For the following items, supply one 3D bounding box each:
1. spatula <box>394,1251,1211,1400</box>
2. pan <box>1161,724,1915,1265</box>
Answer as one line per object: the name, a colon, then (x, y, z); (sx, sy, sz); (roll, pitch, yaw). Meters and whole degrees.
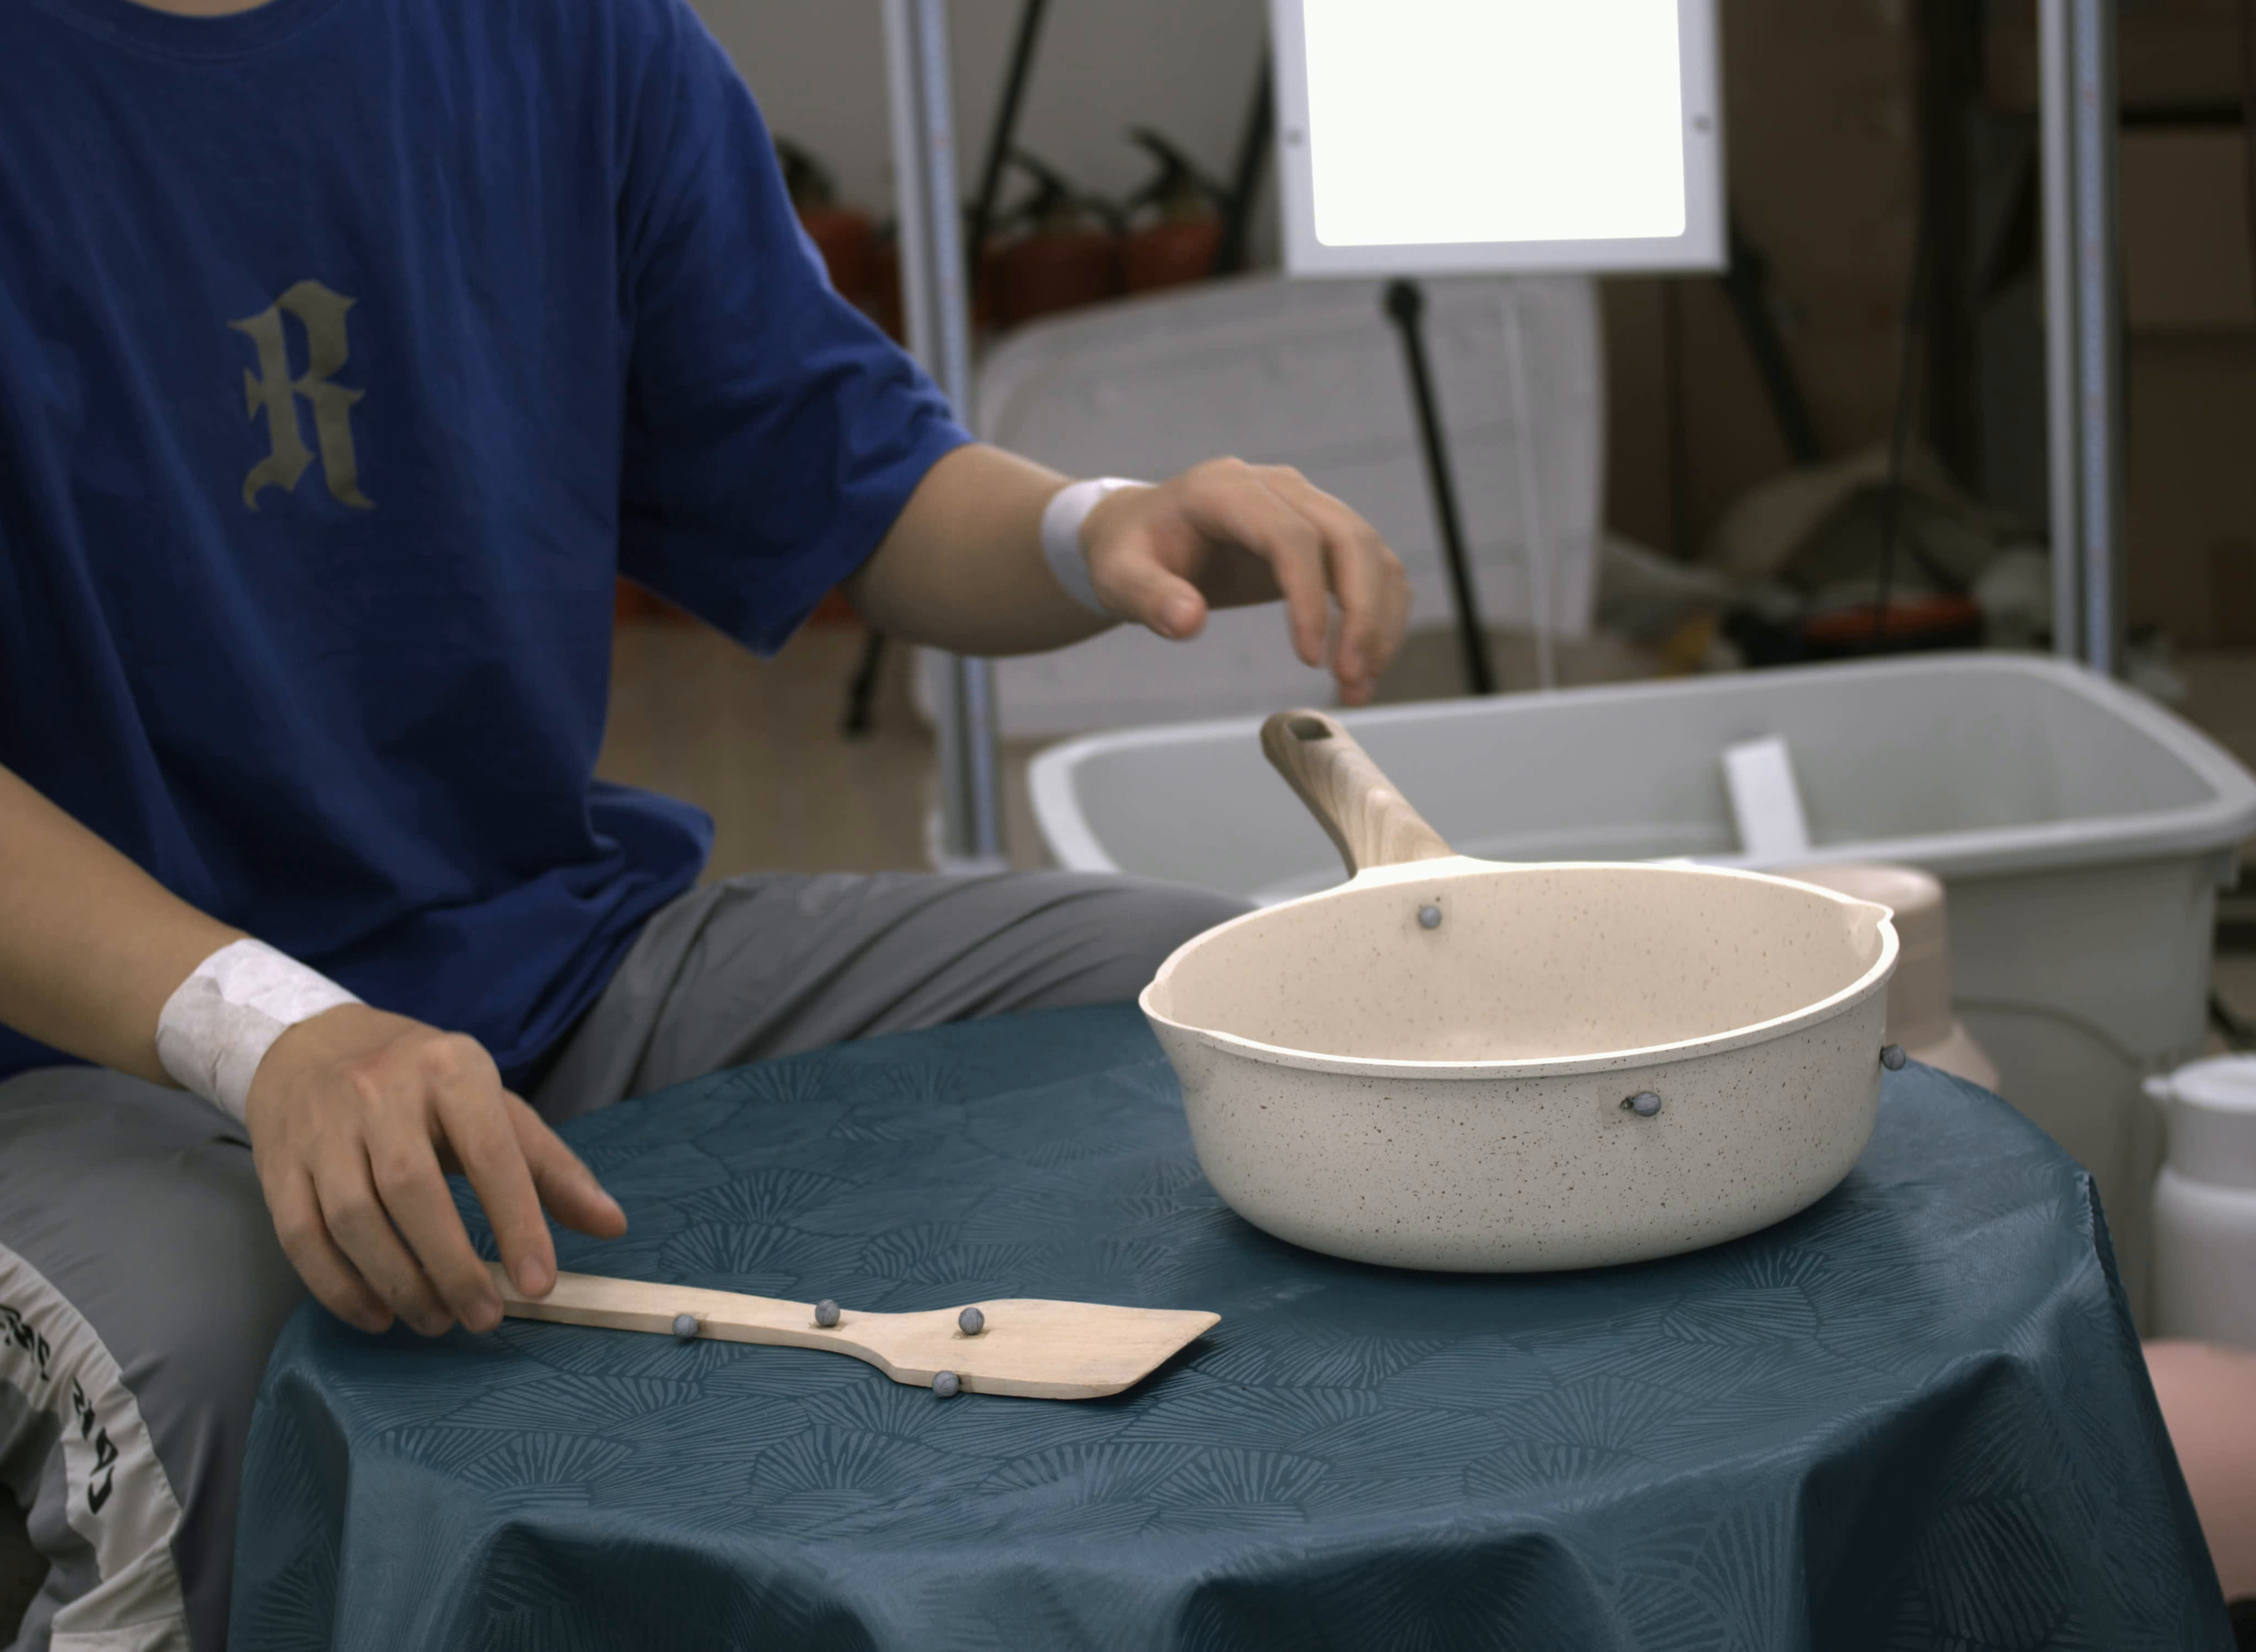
spatula: (-0.115, 0.159, 1.786); (0.298, 0.011, 0.070); (3, 18, 30)
pan: (0.119, 0.054, 1.939); (0.260, 0.102, 0.438); (-10, 14, -12)
